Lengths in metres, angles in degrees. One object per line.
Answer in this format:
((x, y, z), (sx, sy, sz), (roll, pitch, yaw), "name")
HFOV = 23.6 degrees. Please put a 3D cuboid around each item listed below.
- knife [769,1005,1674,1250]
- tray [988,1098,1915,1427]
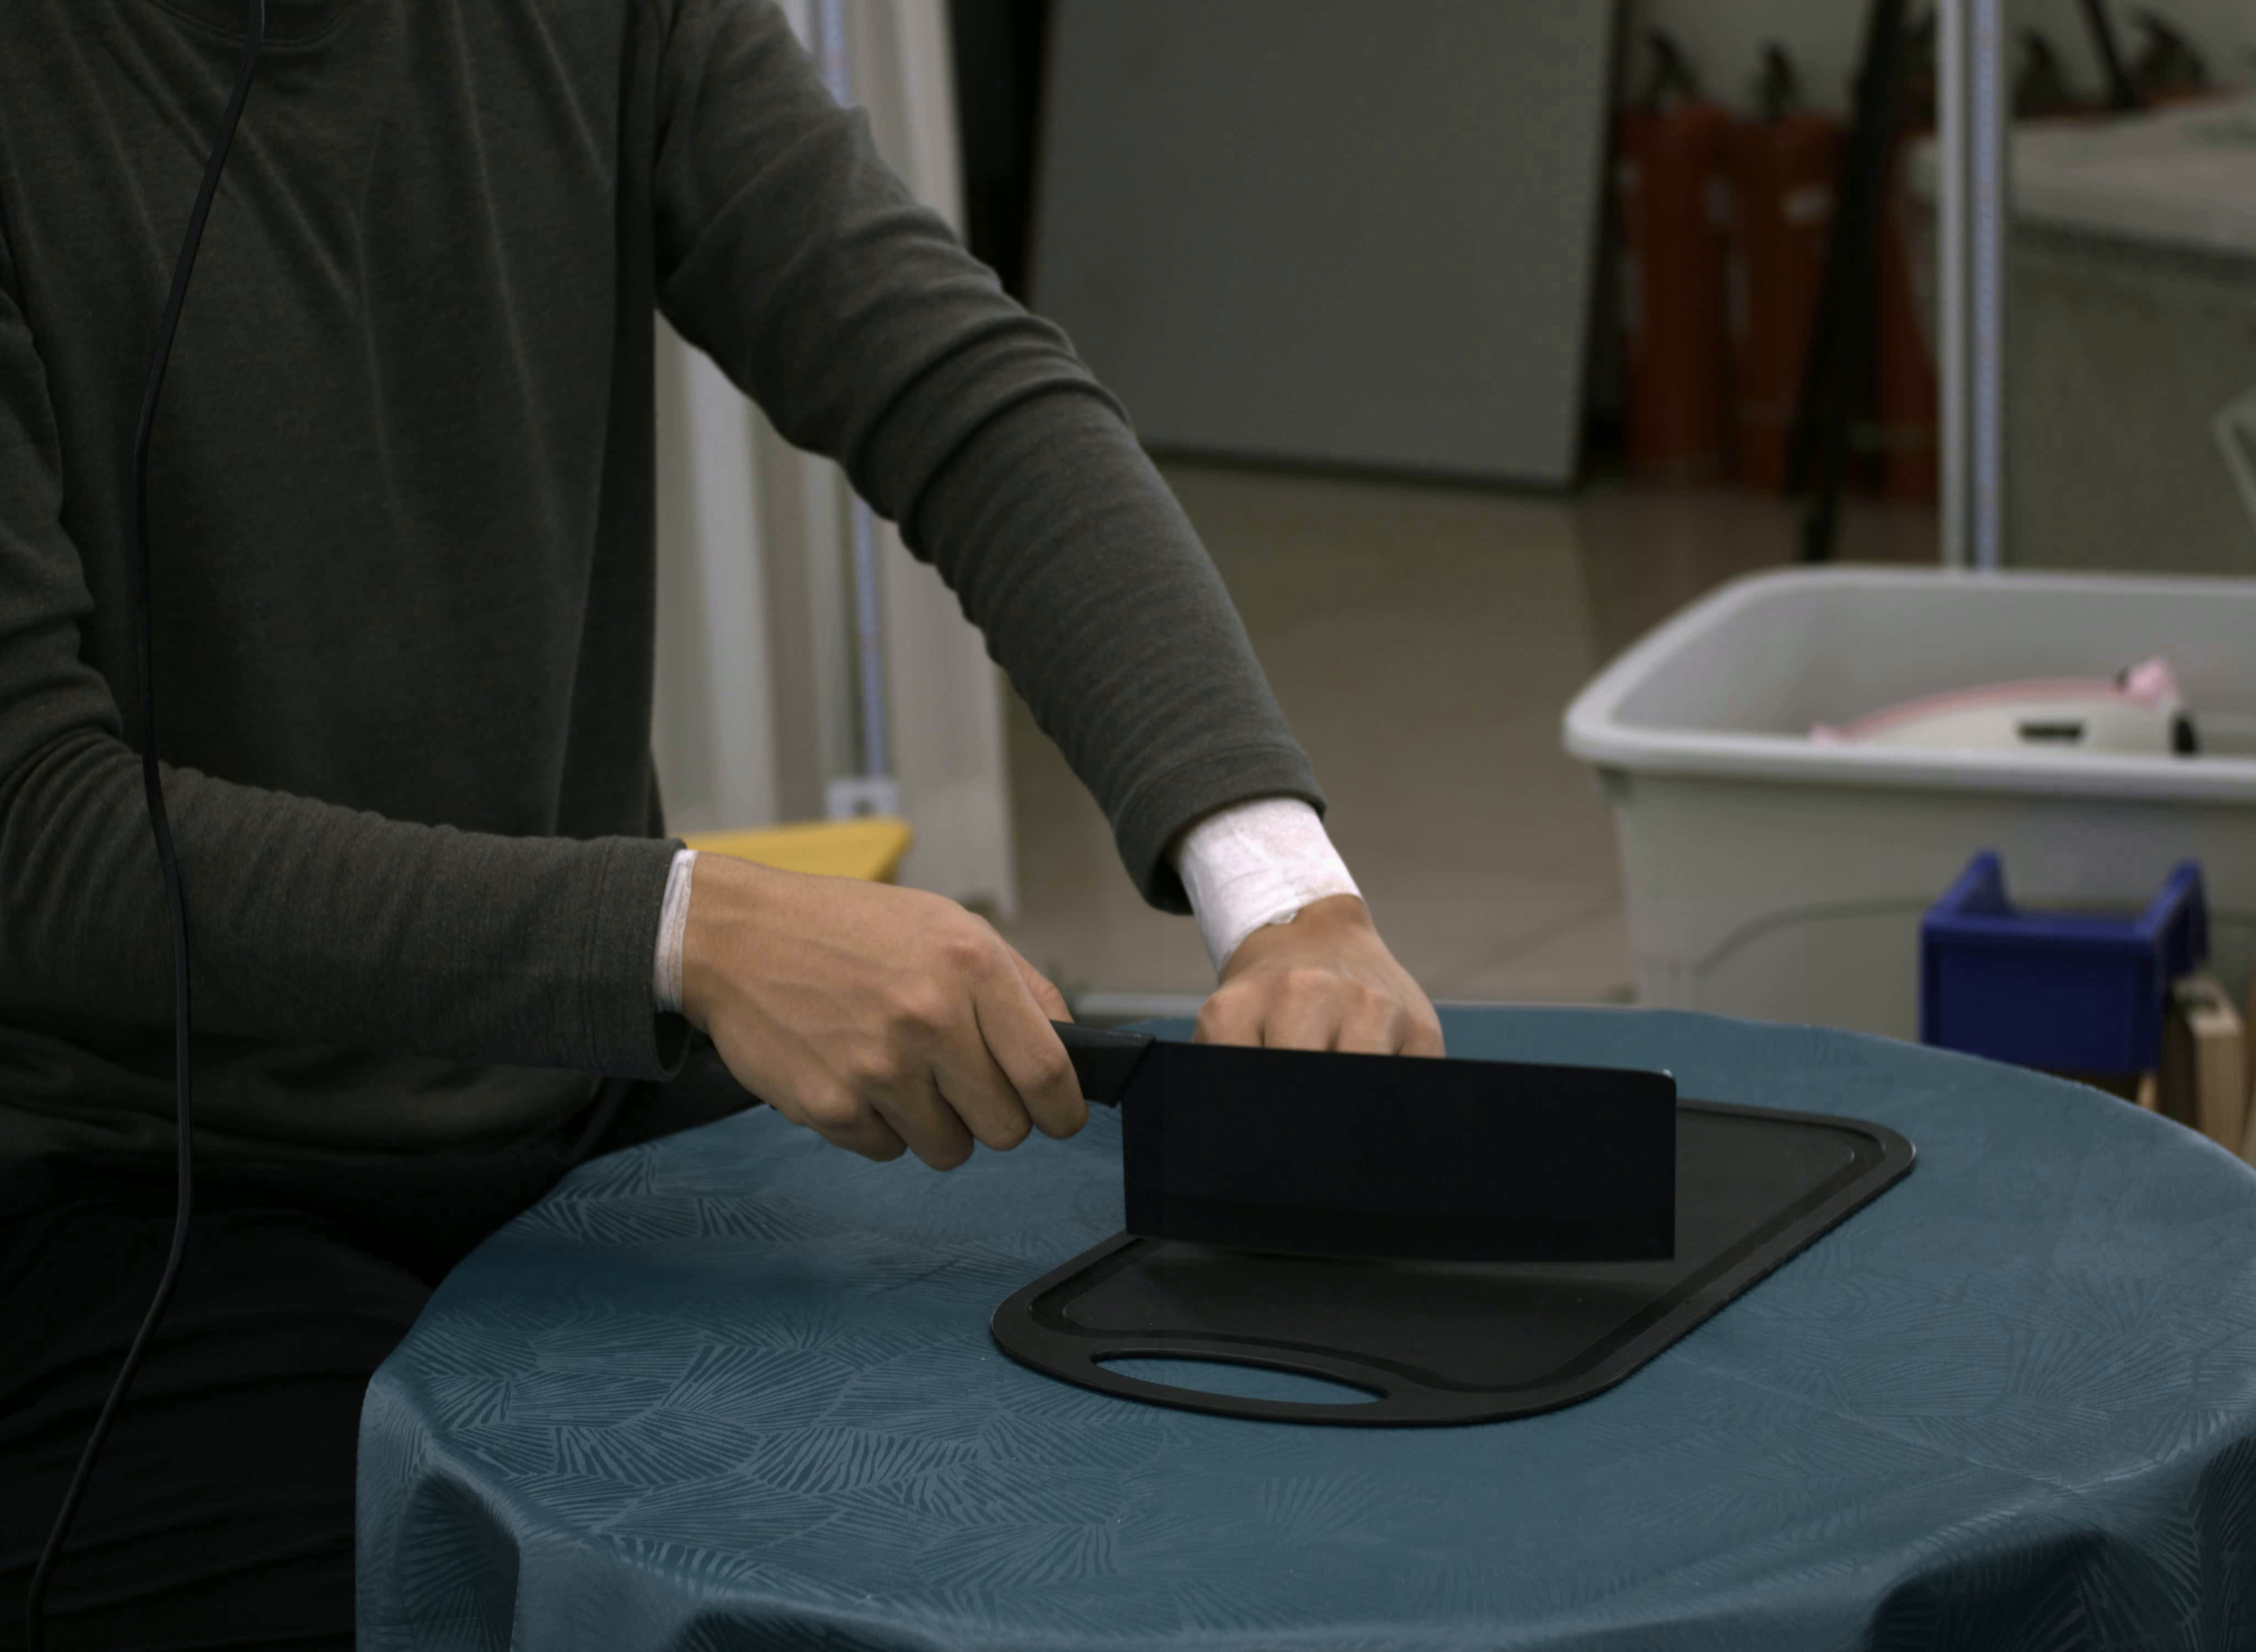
((0.027, 0.093, 1.687), (0.302, 0.082, 0.020), (6, 11, 20), "knife")
((0.103, 0.131, 1.693), (0.212, 0.010, 0.320), (4, 16, 33), "tray")
